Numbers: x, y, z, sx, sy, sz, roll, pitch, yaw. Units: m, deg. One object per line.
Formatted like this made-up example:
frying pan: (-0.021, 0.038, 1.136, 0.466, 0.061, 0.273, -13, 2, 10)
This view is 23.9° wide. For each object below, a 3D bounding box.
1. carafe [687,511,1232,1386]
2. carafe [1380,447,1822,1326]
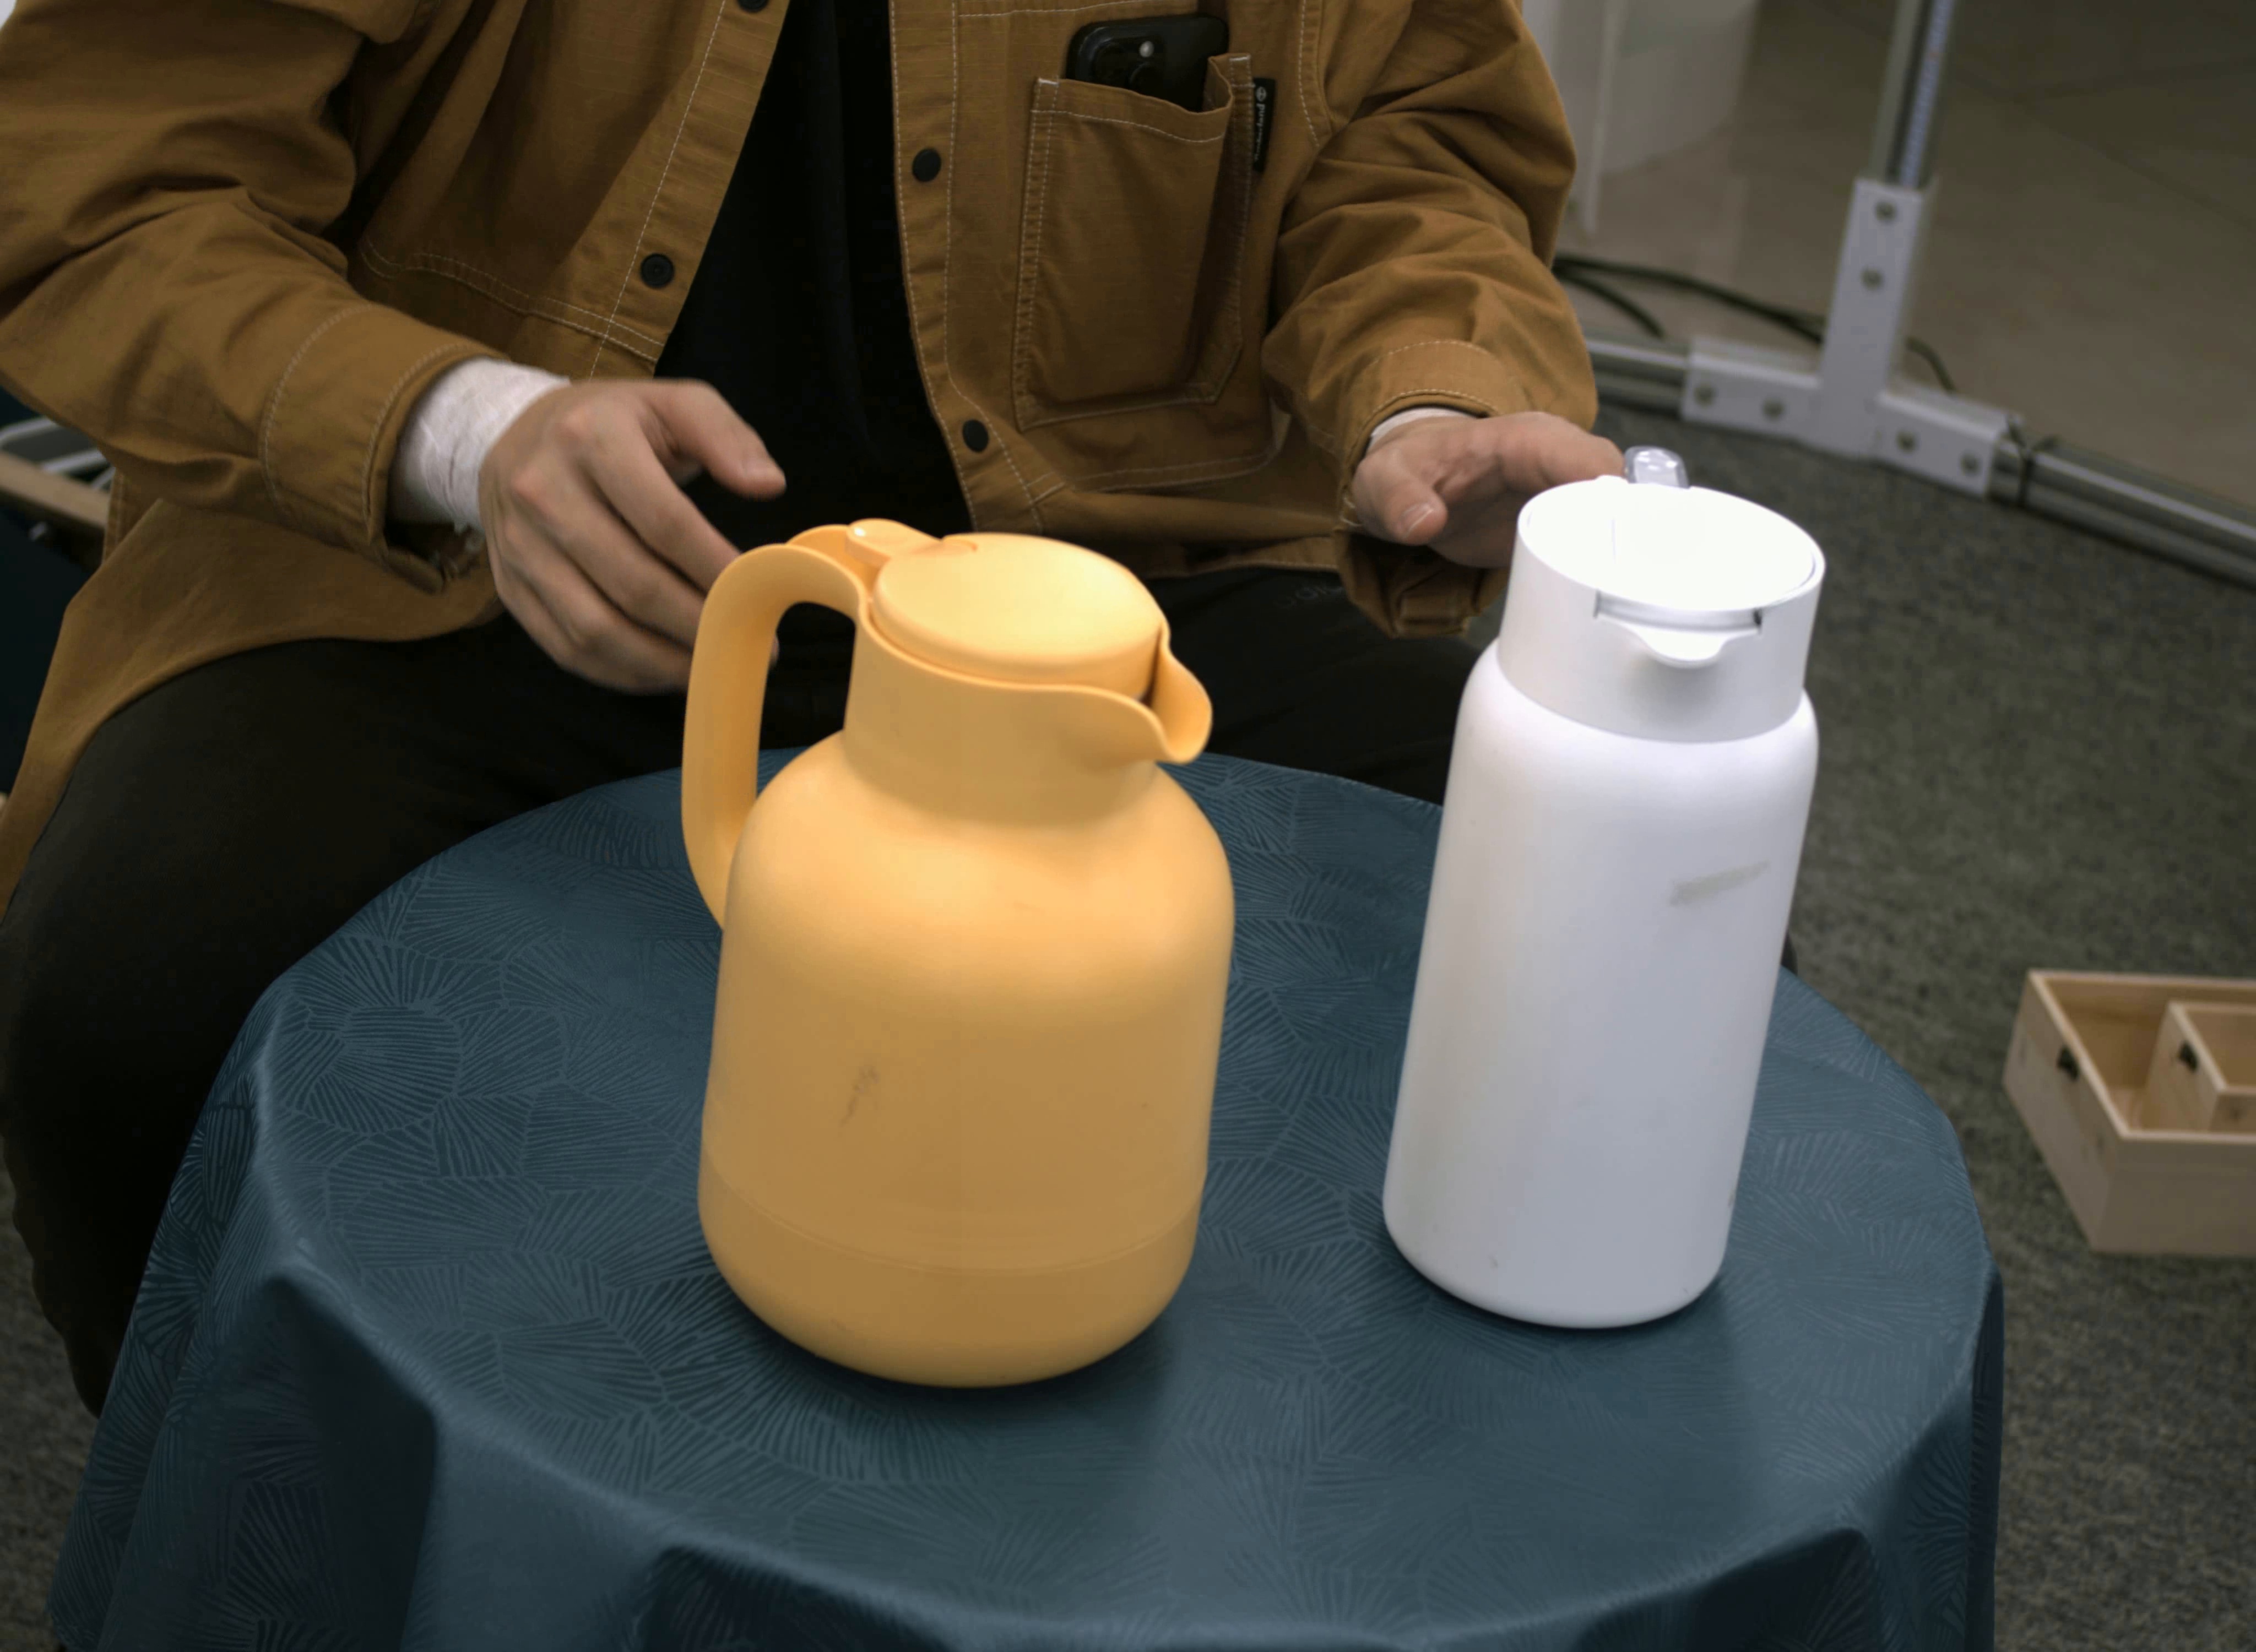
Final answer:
carafe: (-0.062, 0.029, 1.690, 0.204, 0.260, 0.162, 29, 31, 35)
carafe: (0.155, 0.016, 1.757, 0.123, 0.268, 0.174, 4, 26, -2)
